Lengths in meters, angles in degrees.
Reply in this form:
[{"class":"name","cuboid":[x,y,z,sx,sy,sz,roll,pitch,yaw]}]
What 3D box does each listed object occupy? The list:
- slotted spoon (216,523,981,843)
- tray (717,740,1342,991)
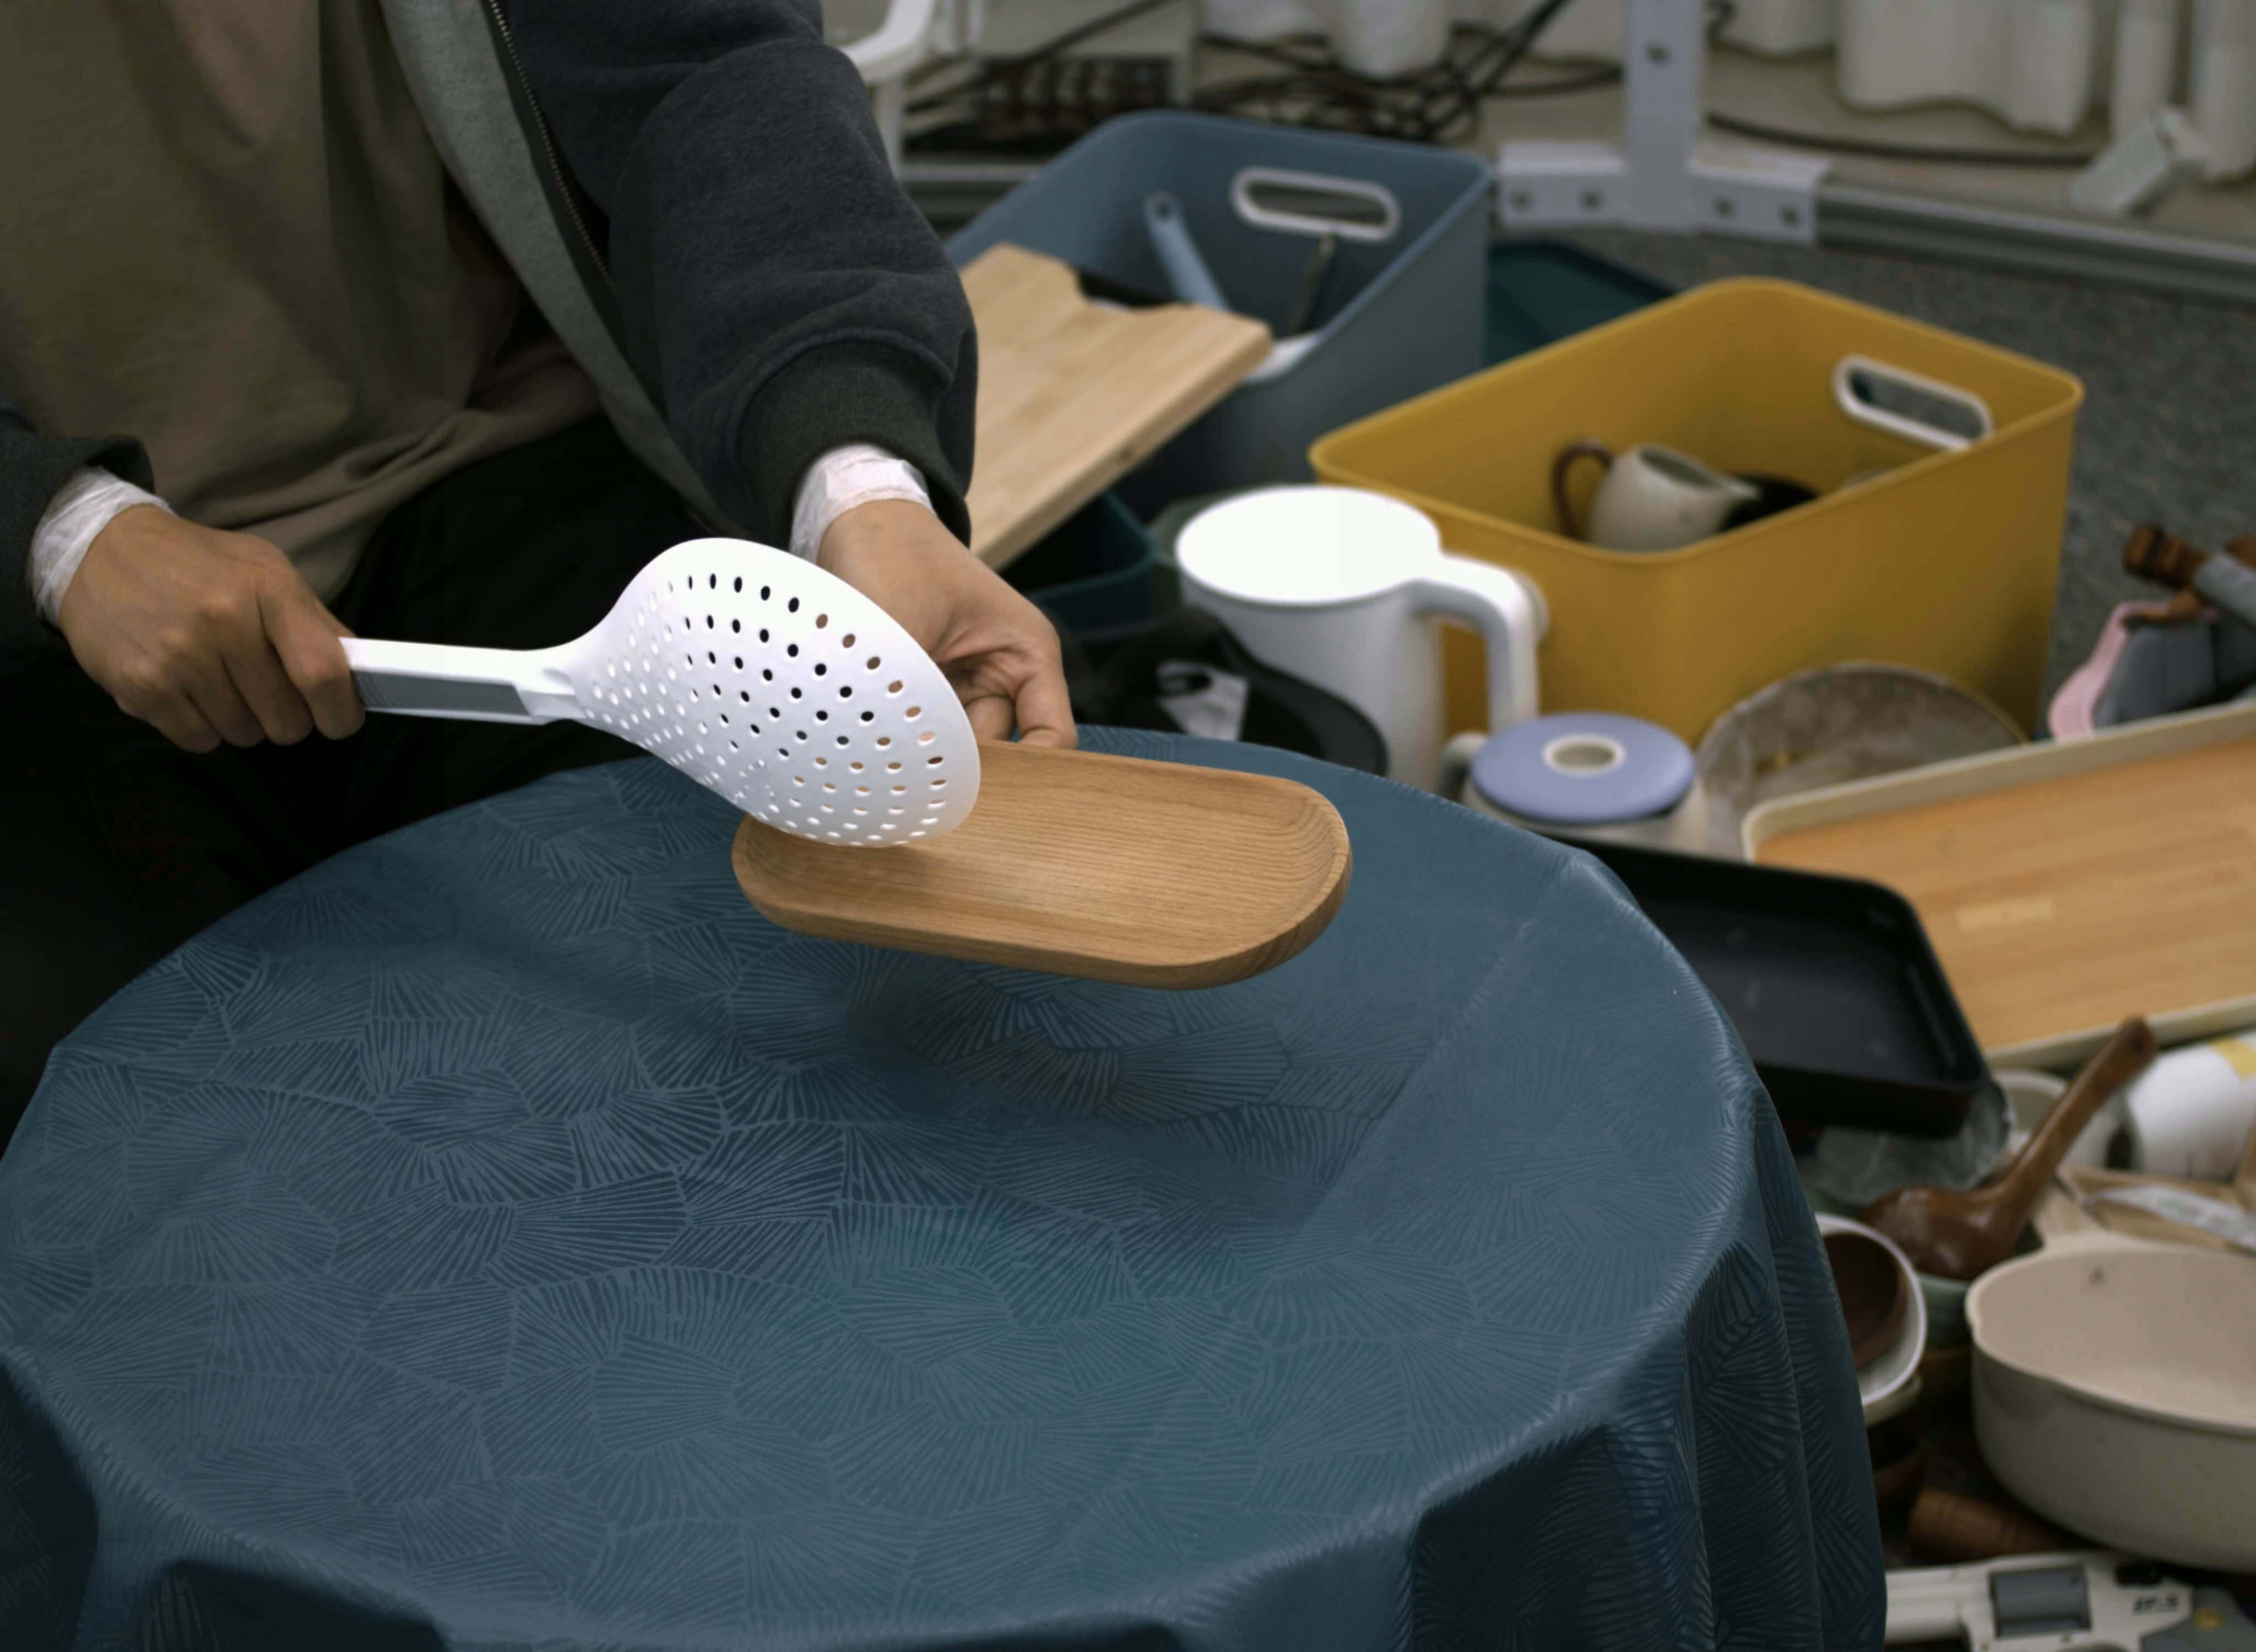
[{"class":"slotted spoon","cuboid":[-0.195,-0.049,1.960,0.347,0.135,0.046,9,45,42]},{"class":"tray","cuboid":[-0.034,0.012,1.907,0.229,0.020,0.103,6,40,28]}]
